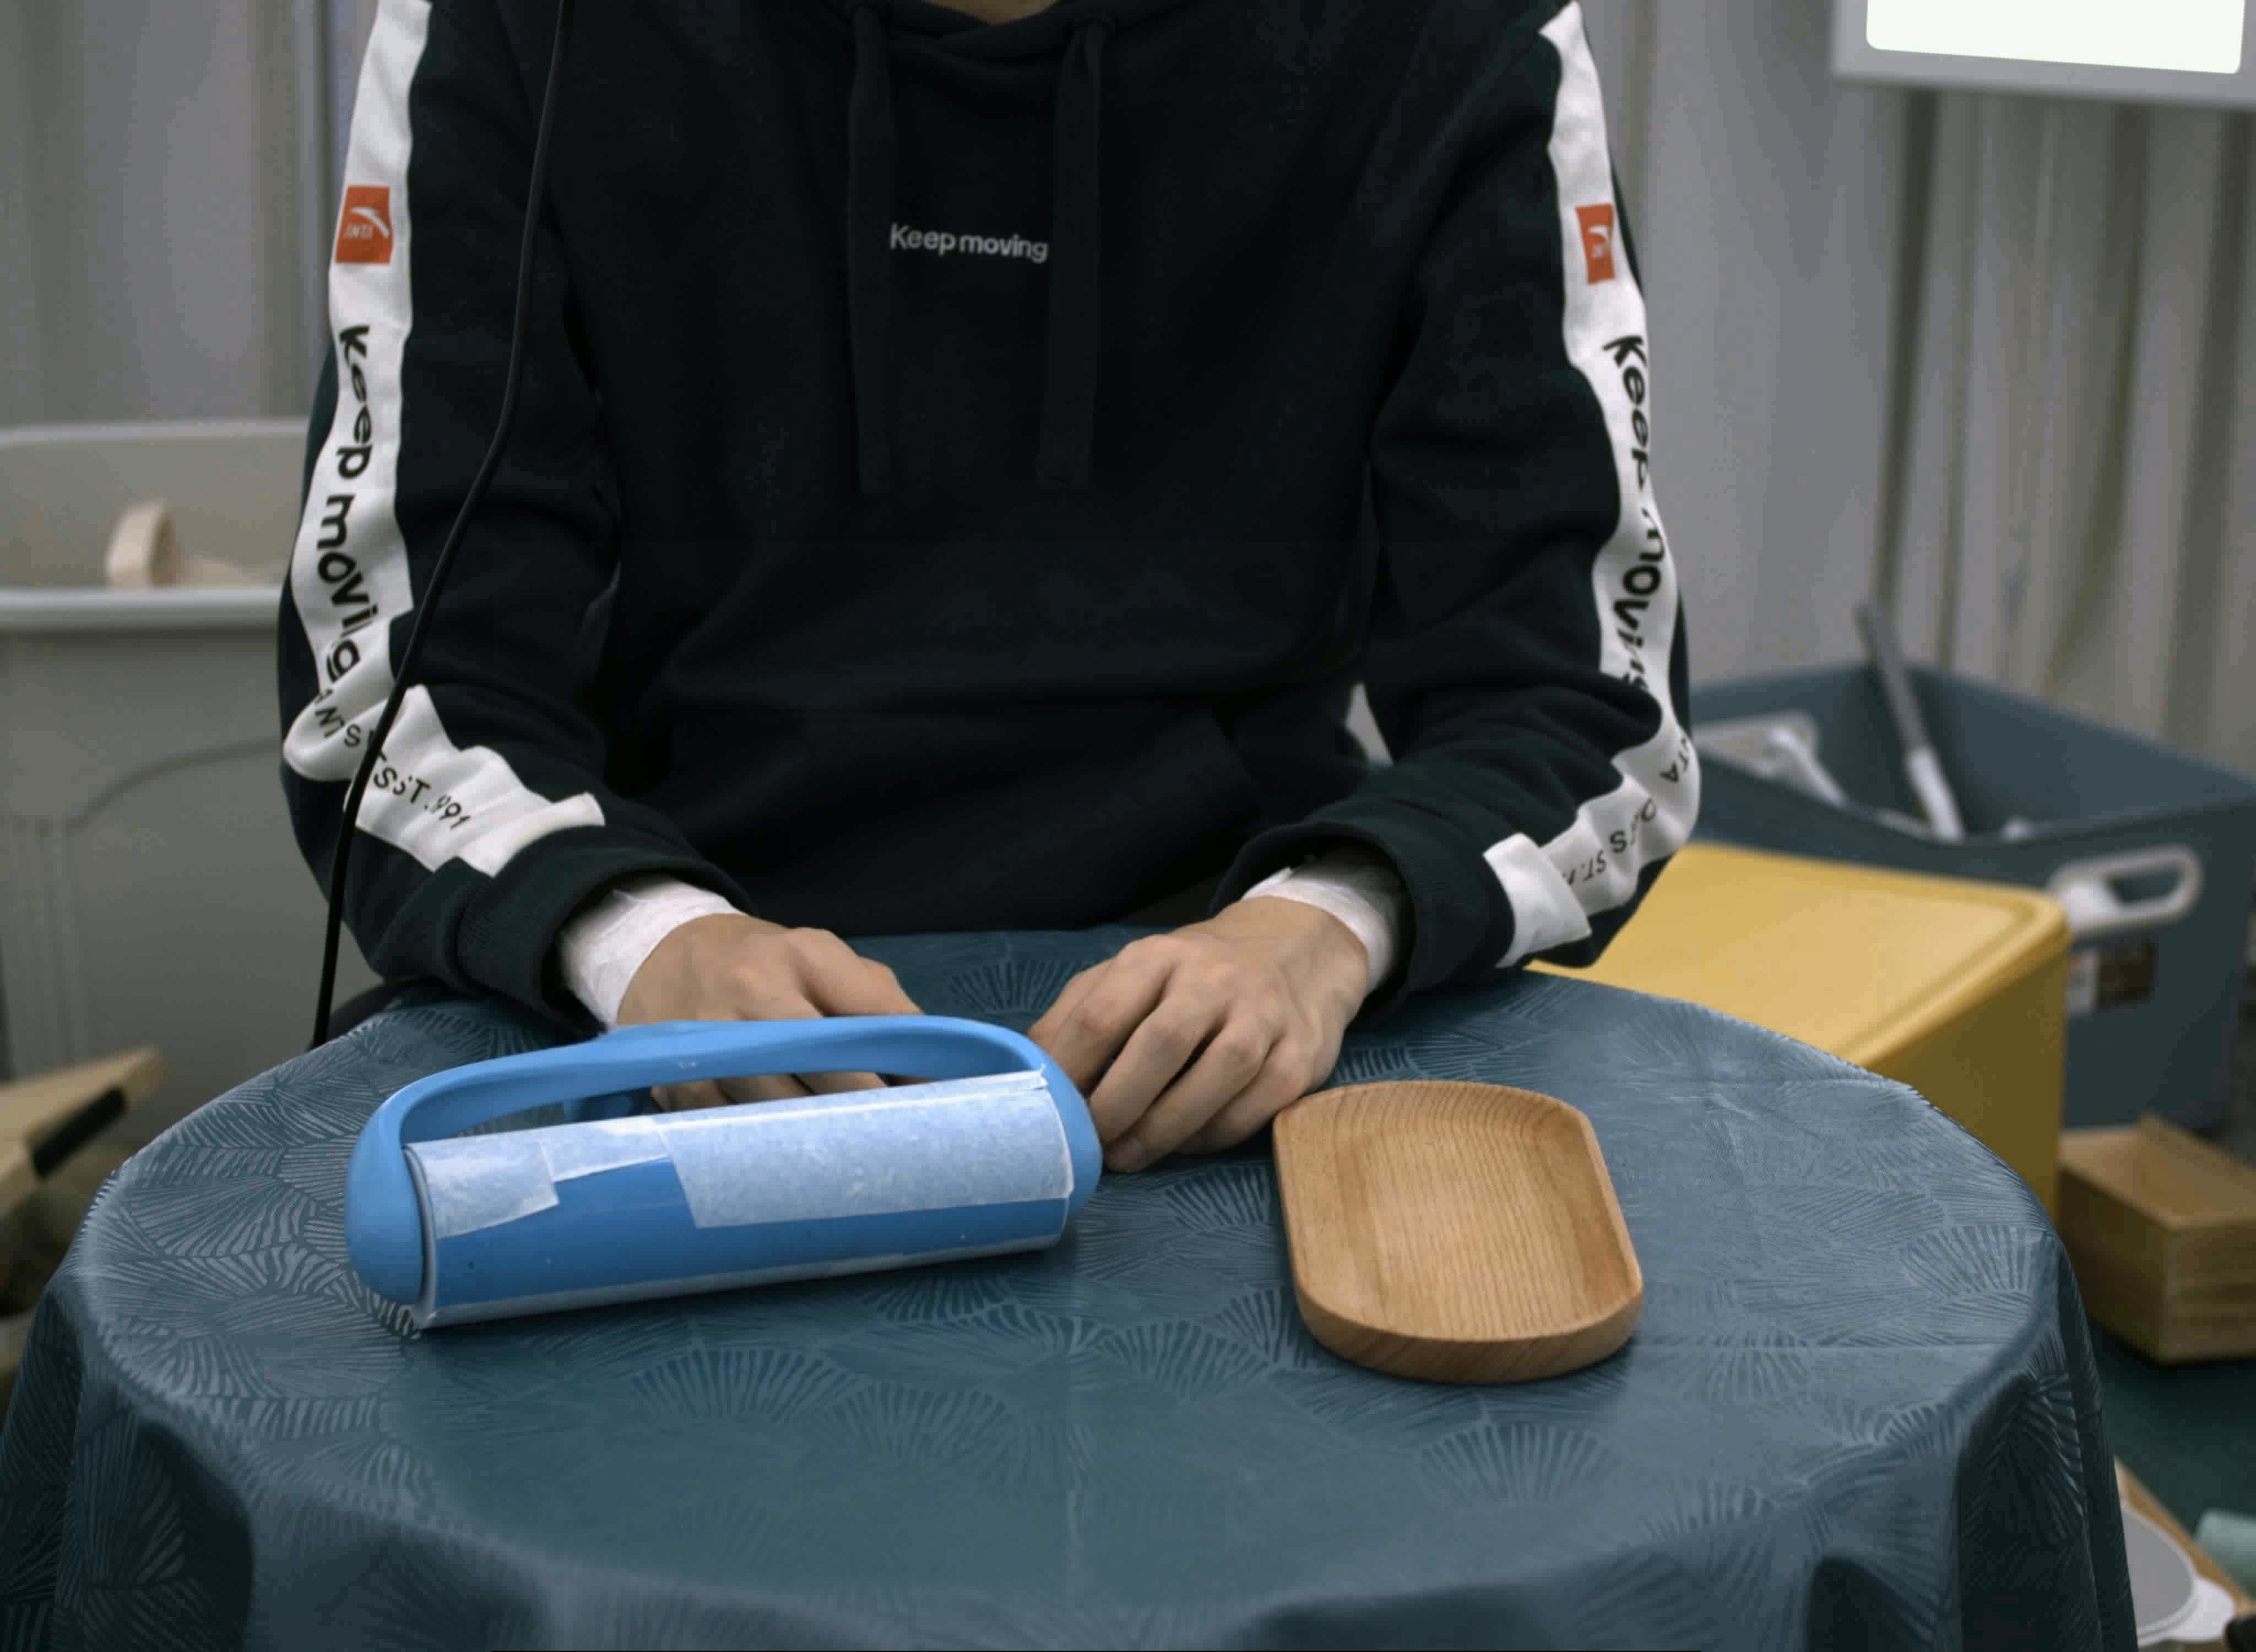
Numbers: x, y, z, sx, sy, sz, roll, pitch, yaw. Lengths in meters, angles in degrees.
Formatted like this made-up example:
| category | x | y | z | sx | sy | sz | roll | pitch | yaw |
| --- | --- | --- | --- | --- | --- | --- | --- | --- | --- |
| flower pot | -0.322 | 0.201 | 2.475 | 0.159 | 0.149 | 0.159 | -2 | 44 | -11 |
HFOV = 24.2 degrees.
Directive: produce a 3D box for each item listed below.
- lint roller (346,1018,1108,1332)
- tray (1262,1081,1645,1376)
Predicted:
| category | x | y | z | sx | sy | sz | roll | pitch | yaw |
| --- | --- | --- | --- | --- | --- | --- | --- | --- | --- |
| lint roller | -0.138 | 0.091 | 1.582 | 0.229 | 0.068 | 0.178 | -8 | 18 | -23 |
| tray | 0.095 | 0.117 | 1.574 | 0.101 | 0.020 | 0.230 | 1 | 14 | -3 |
